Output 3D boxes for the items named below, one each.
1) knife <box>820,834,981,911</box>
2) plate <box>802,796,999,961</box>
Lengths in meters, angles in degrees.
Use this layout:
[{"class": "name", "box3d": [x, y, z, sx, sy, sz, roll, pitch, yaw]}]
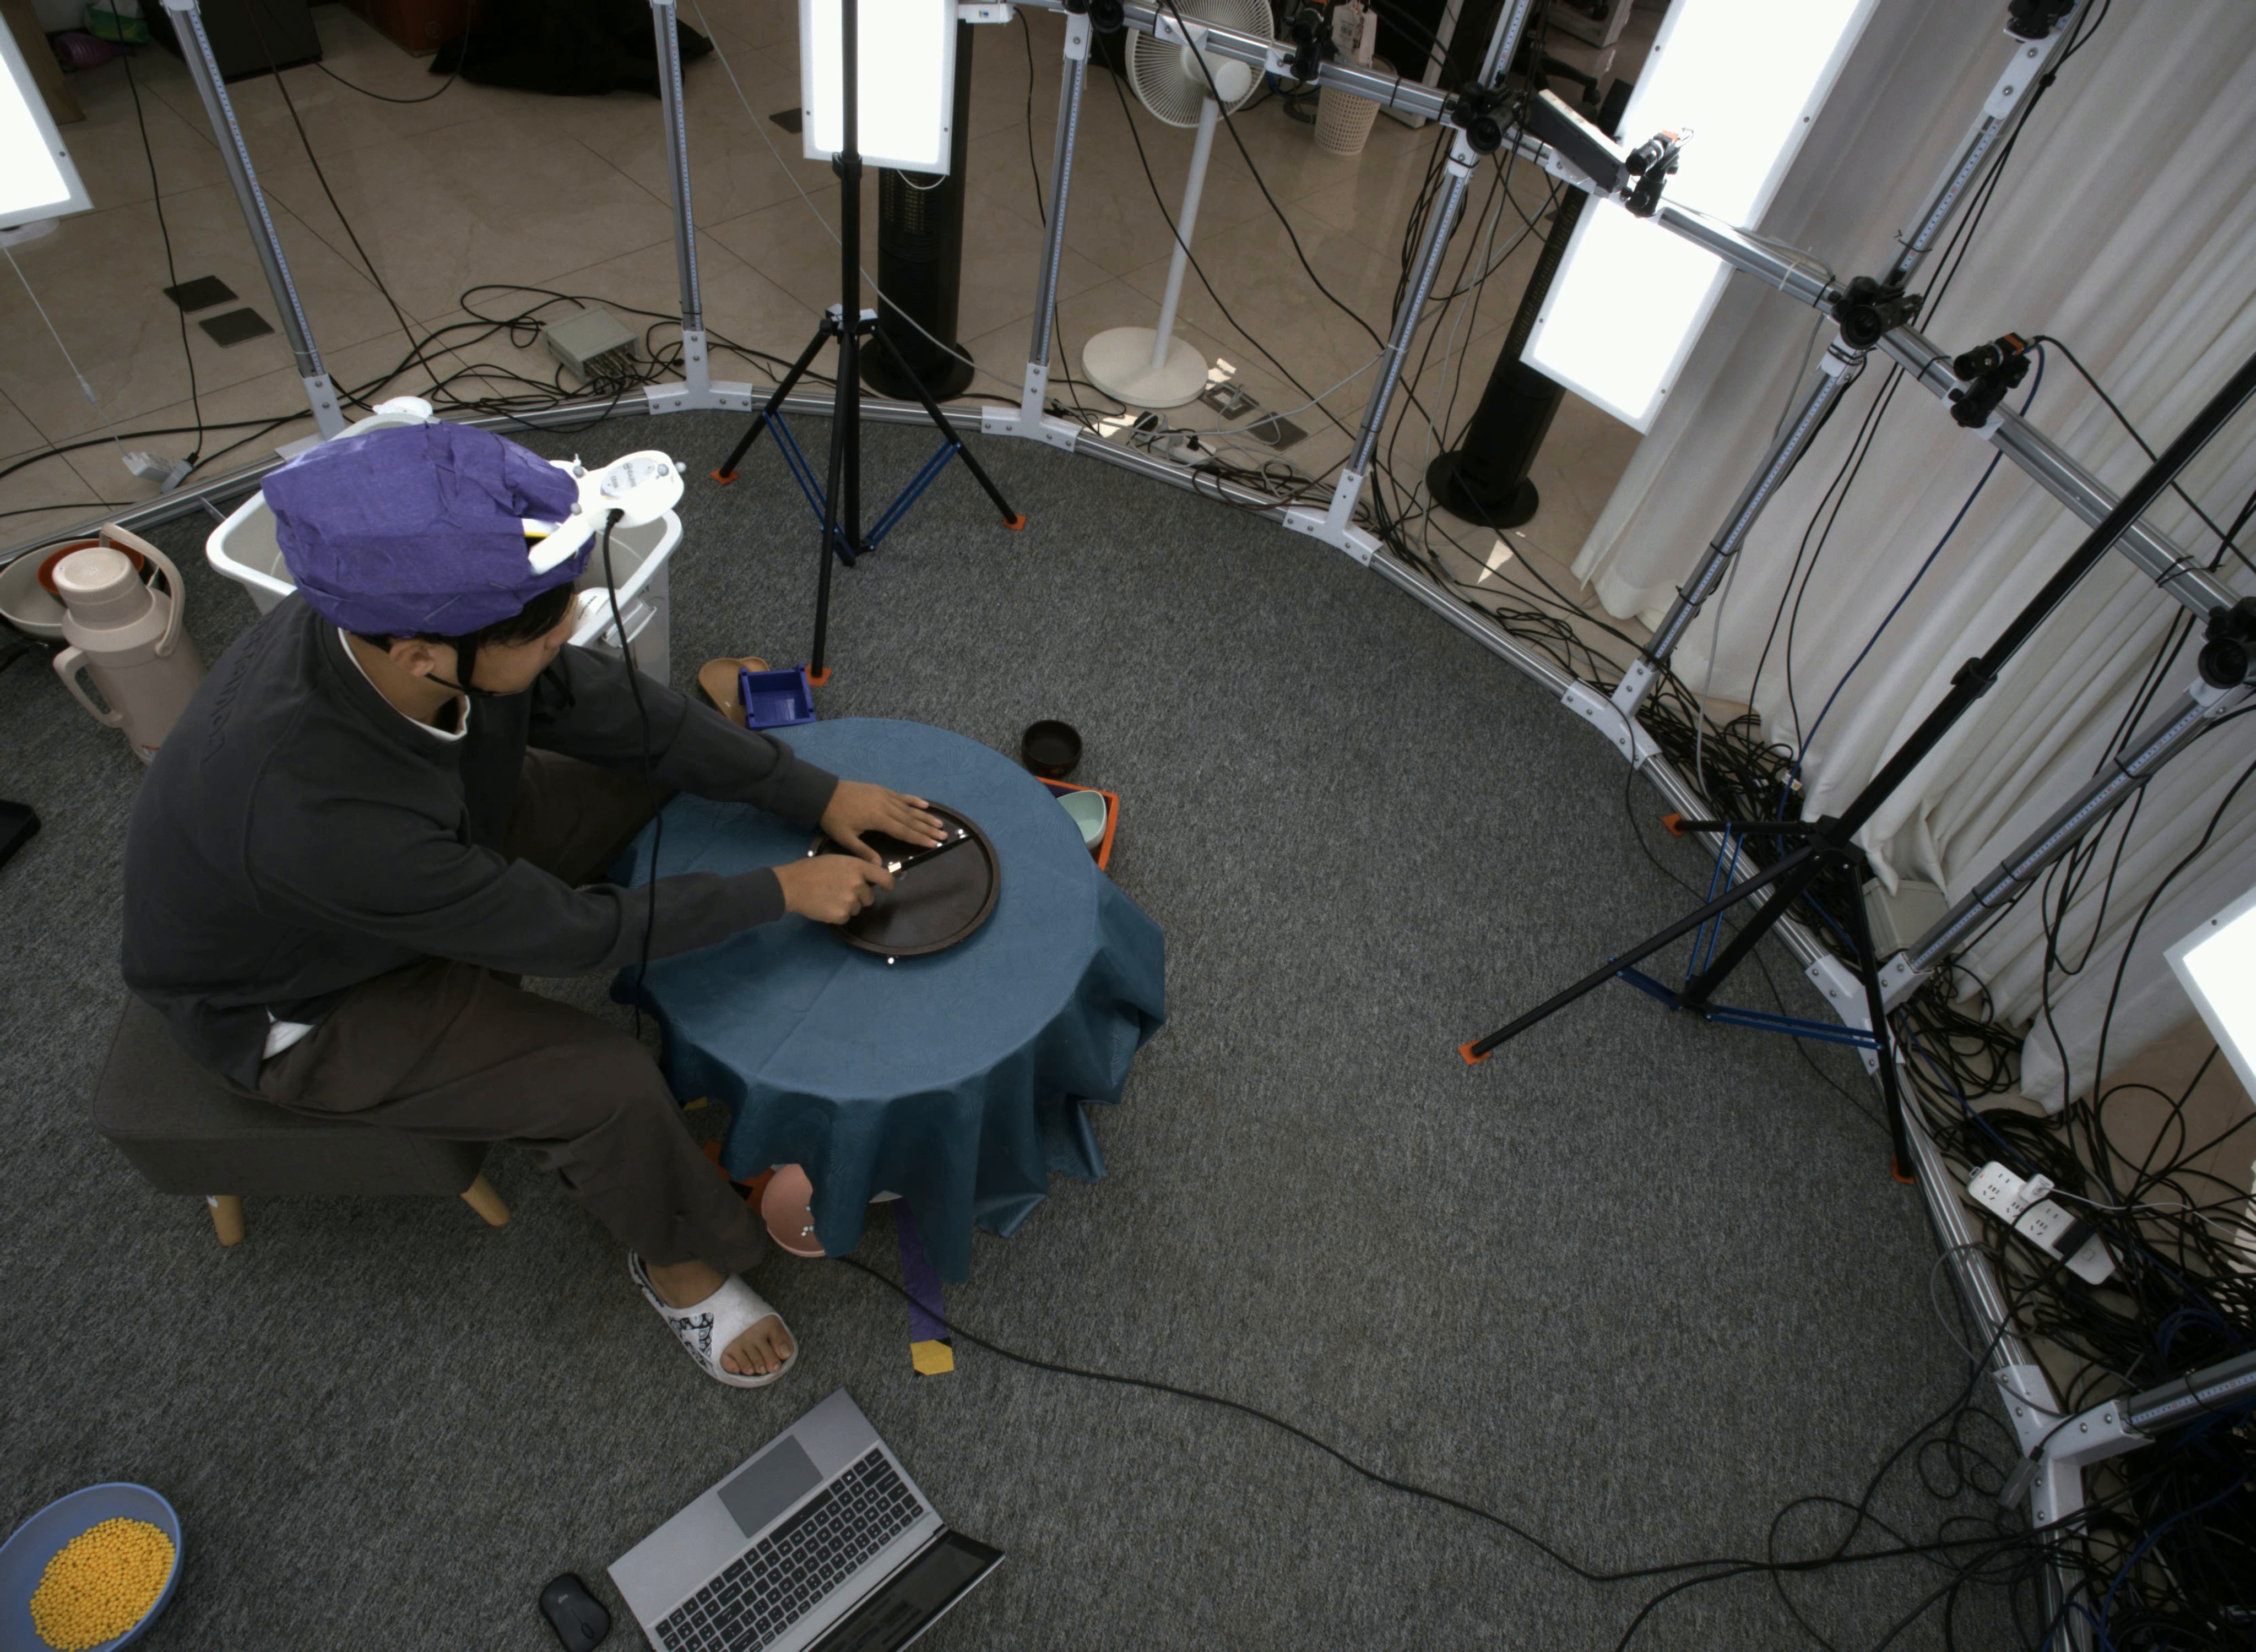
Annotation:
[{"class": "knife", "box3d": [-0.284, 0.053, 1.642, 0.226, 0.027, 0.017, -26, 61, -23]}, {"class": "plate", "box3d": [-0.293, 0.065, 1.690, 0.254, 0.029, 0.250, 7, 54, -8]}]
